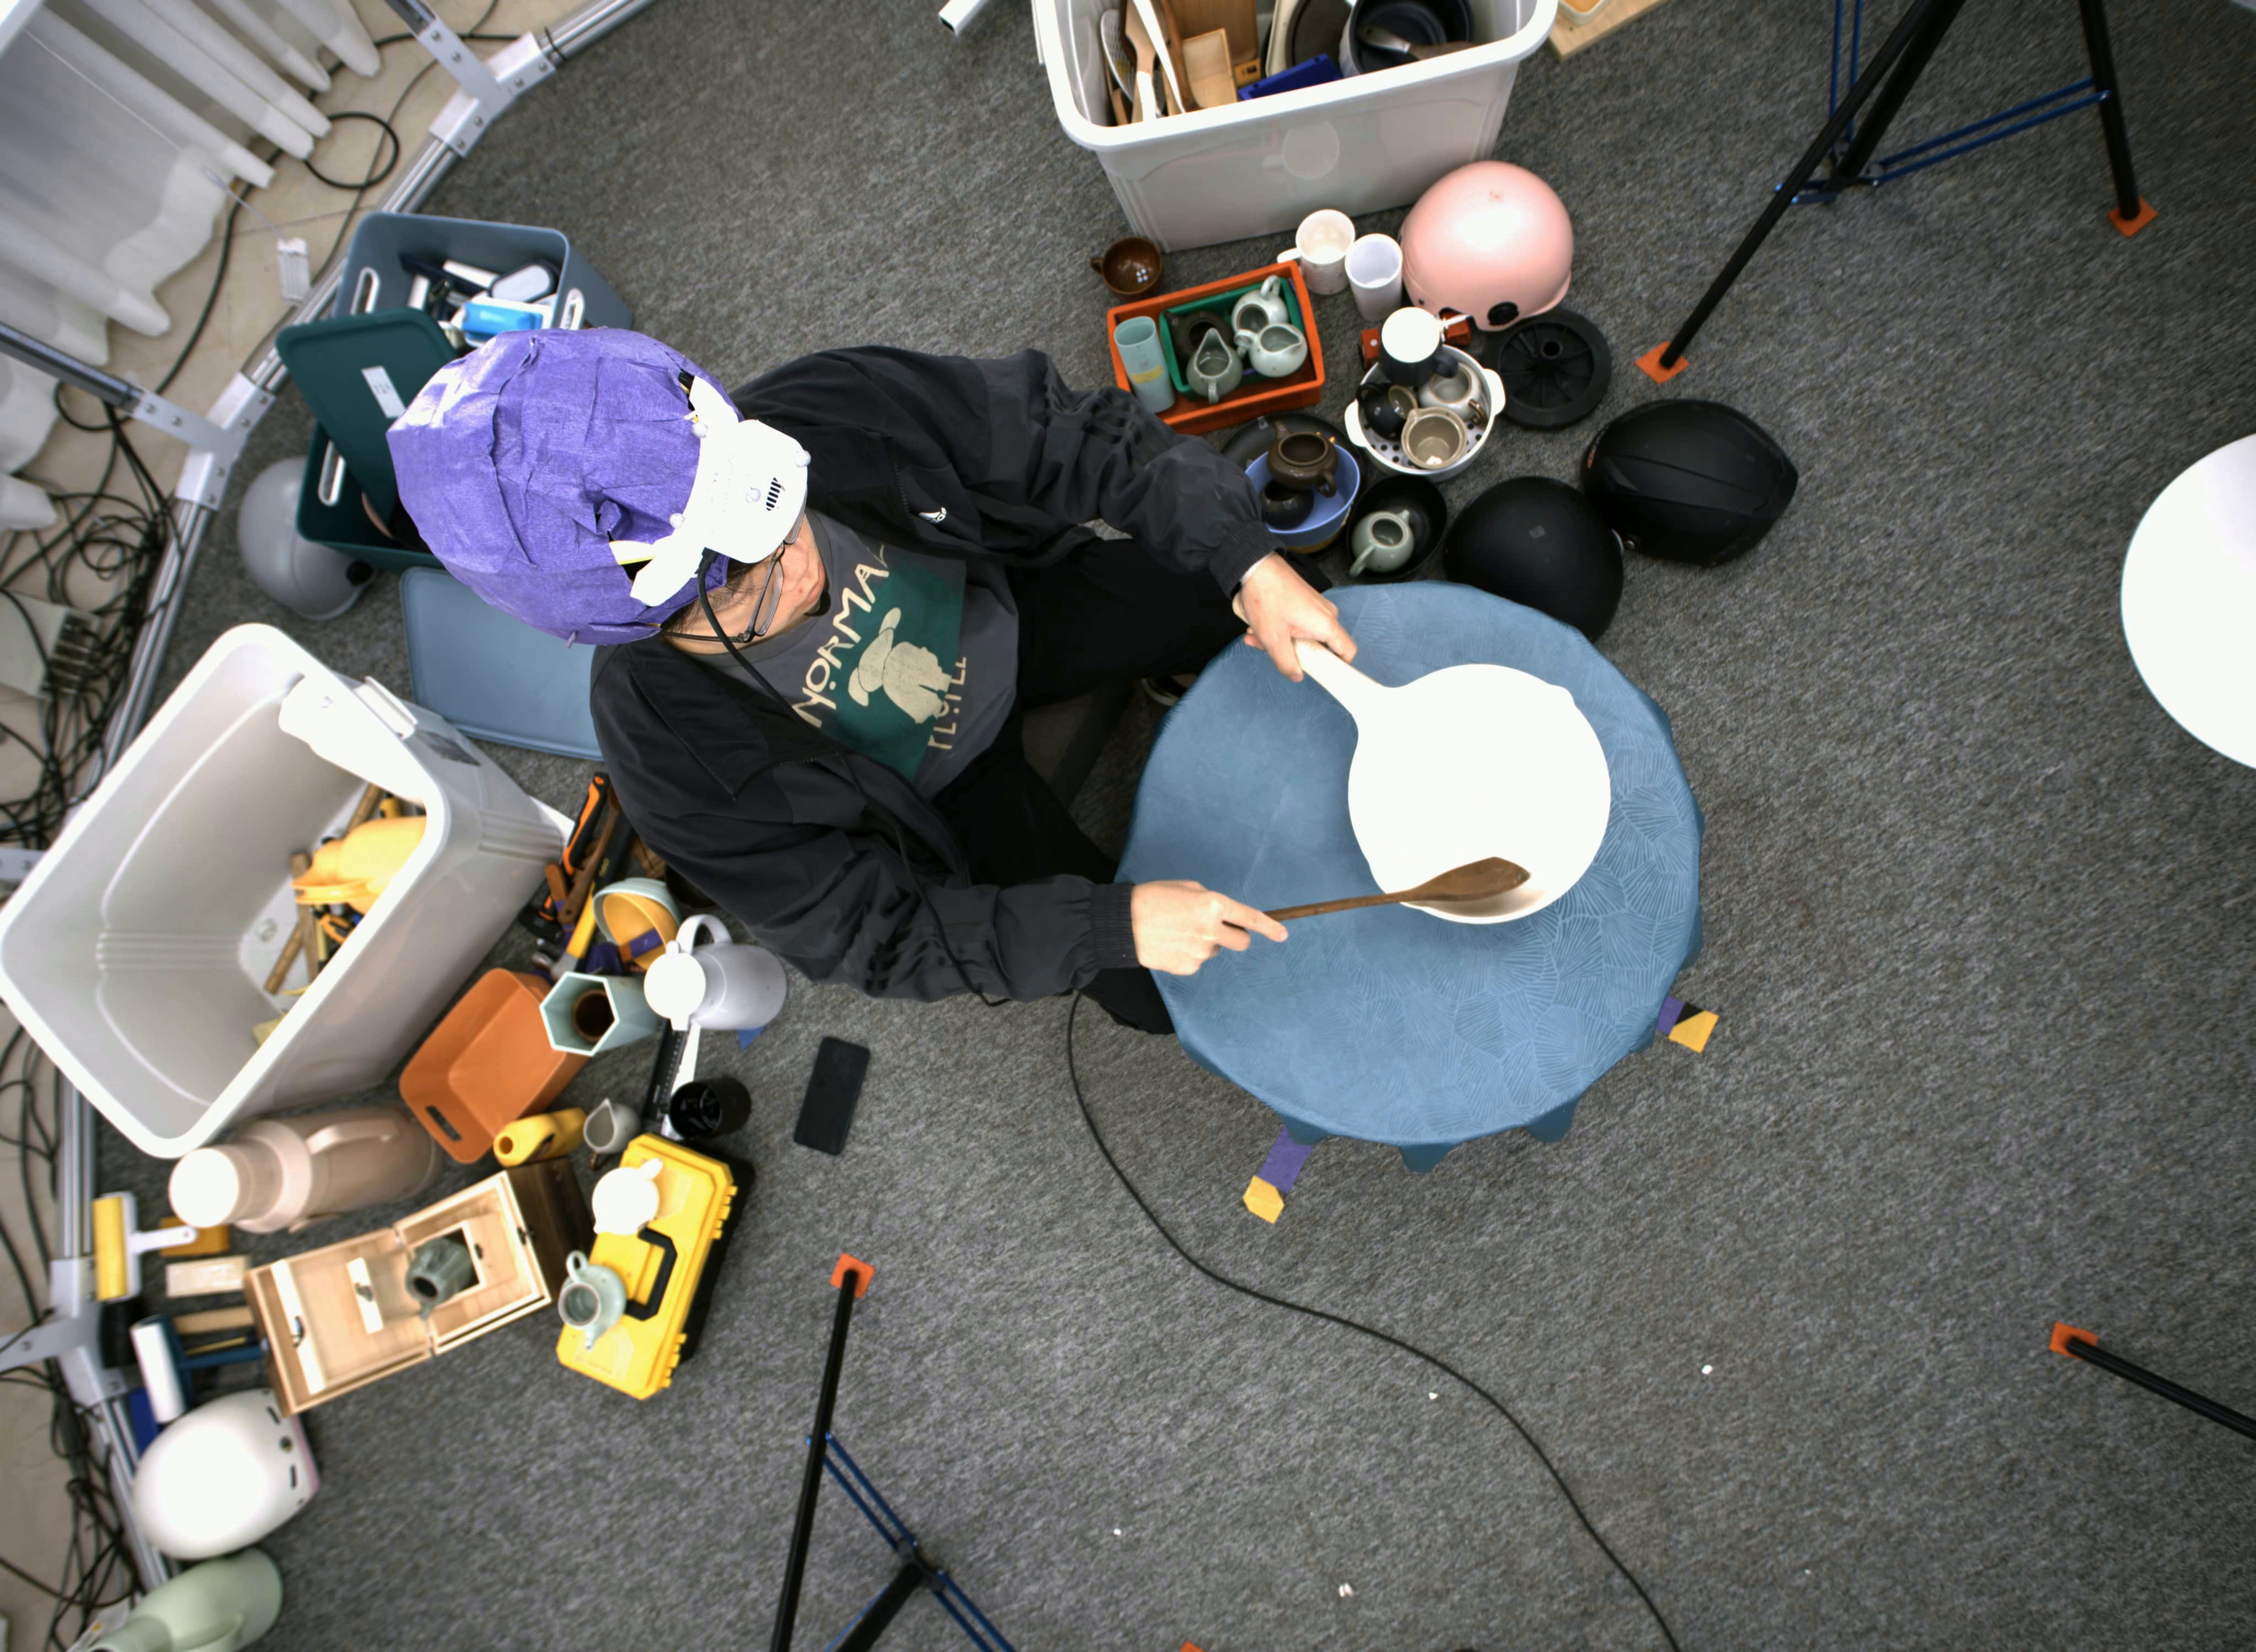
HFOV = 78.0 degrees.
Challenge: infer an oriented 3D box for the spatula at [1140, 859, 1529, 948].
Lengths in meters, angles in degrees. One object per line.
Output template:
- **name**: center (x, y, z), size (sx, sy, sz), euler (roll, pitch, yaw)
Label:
- **spatula**: center (0.201, 0.076, 1.351), size (0.386, 0.095, 0.016), euler (-10, 102, -3)

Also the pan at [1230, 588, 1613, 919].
- **pan**: center (0.283, -0.099, 1.370), size (0.432, 0.100, 0.268), euler (43, 114, 12)
